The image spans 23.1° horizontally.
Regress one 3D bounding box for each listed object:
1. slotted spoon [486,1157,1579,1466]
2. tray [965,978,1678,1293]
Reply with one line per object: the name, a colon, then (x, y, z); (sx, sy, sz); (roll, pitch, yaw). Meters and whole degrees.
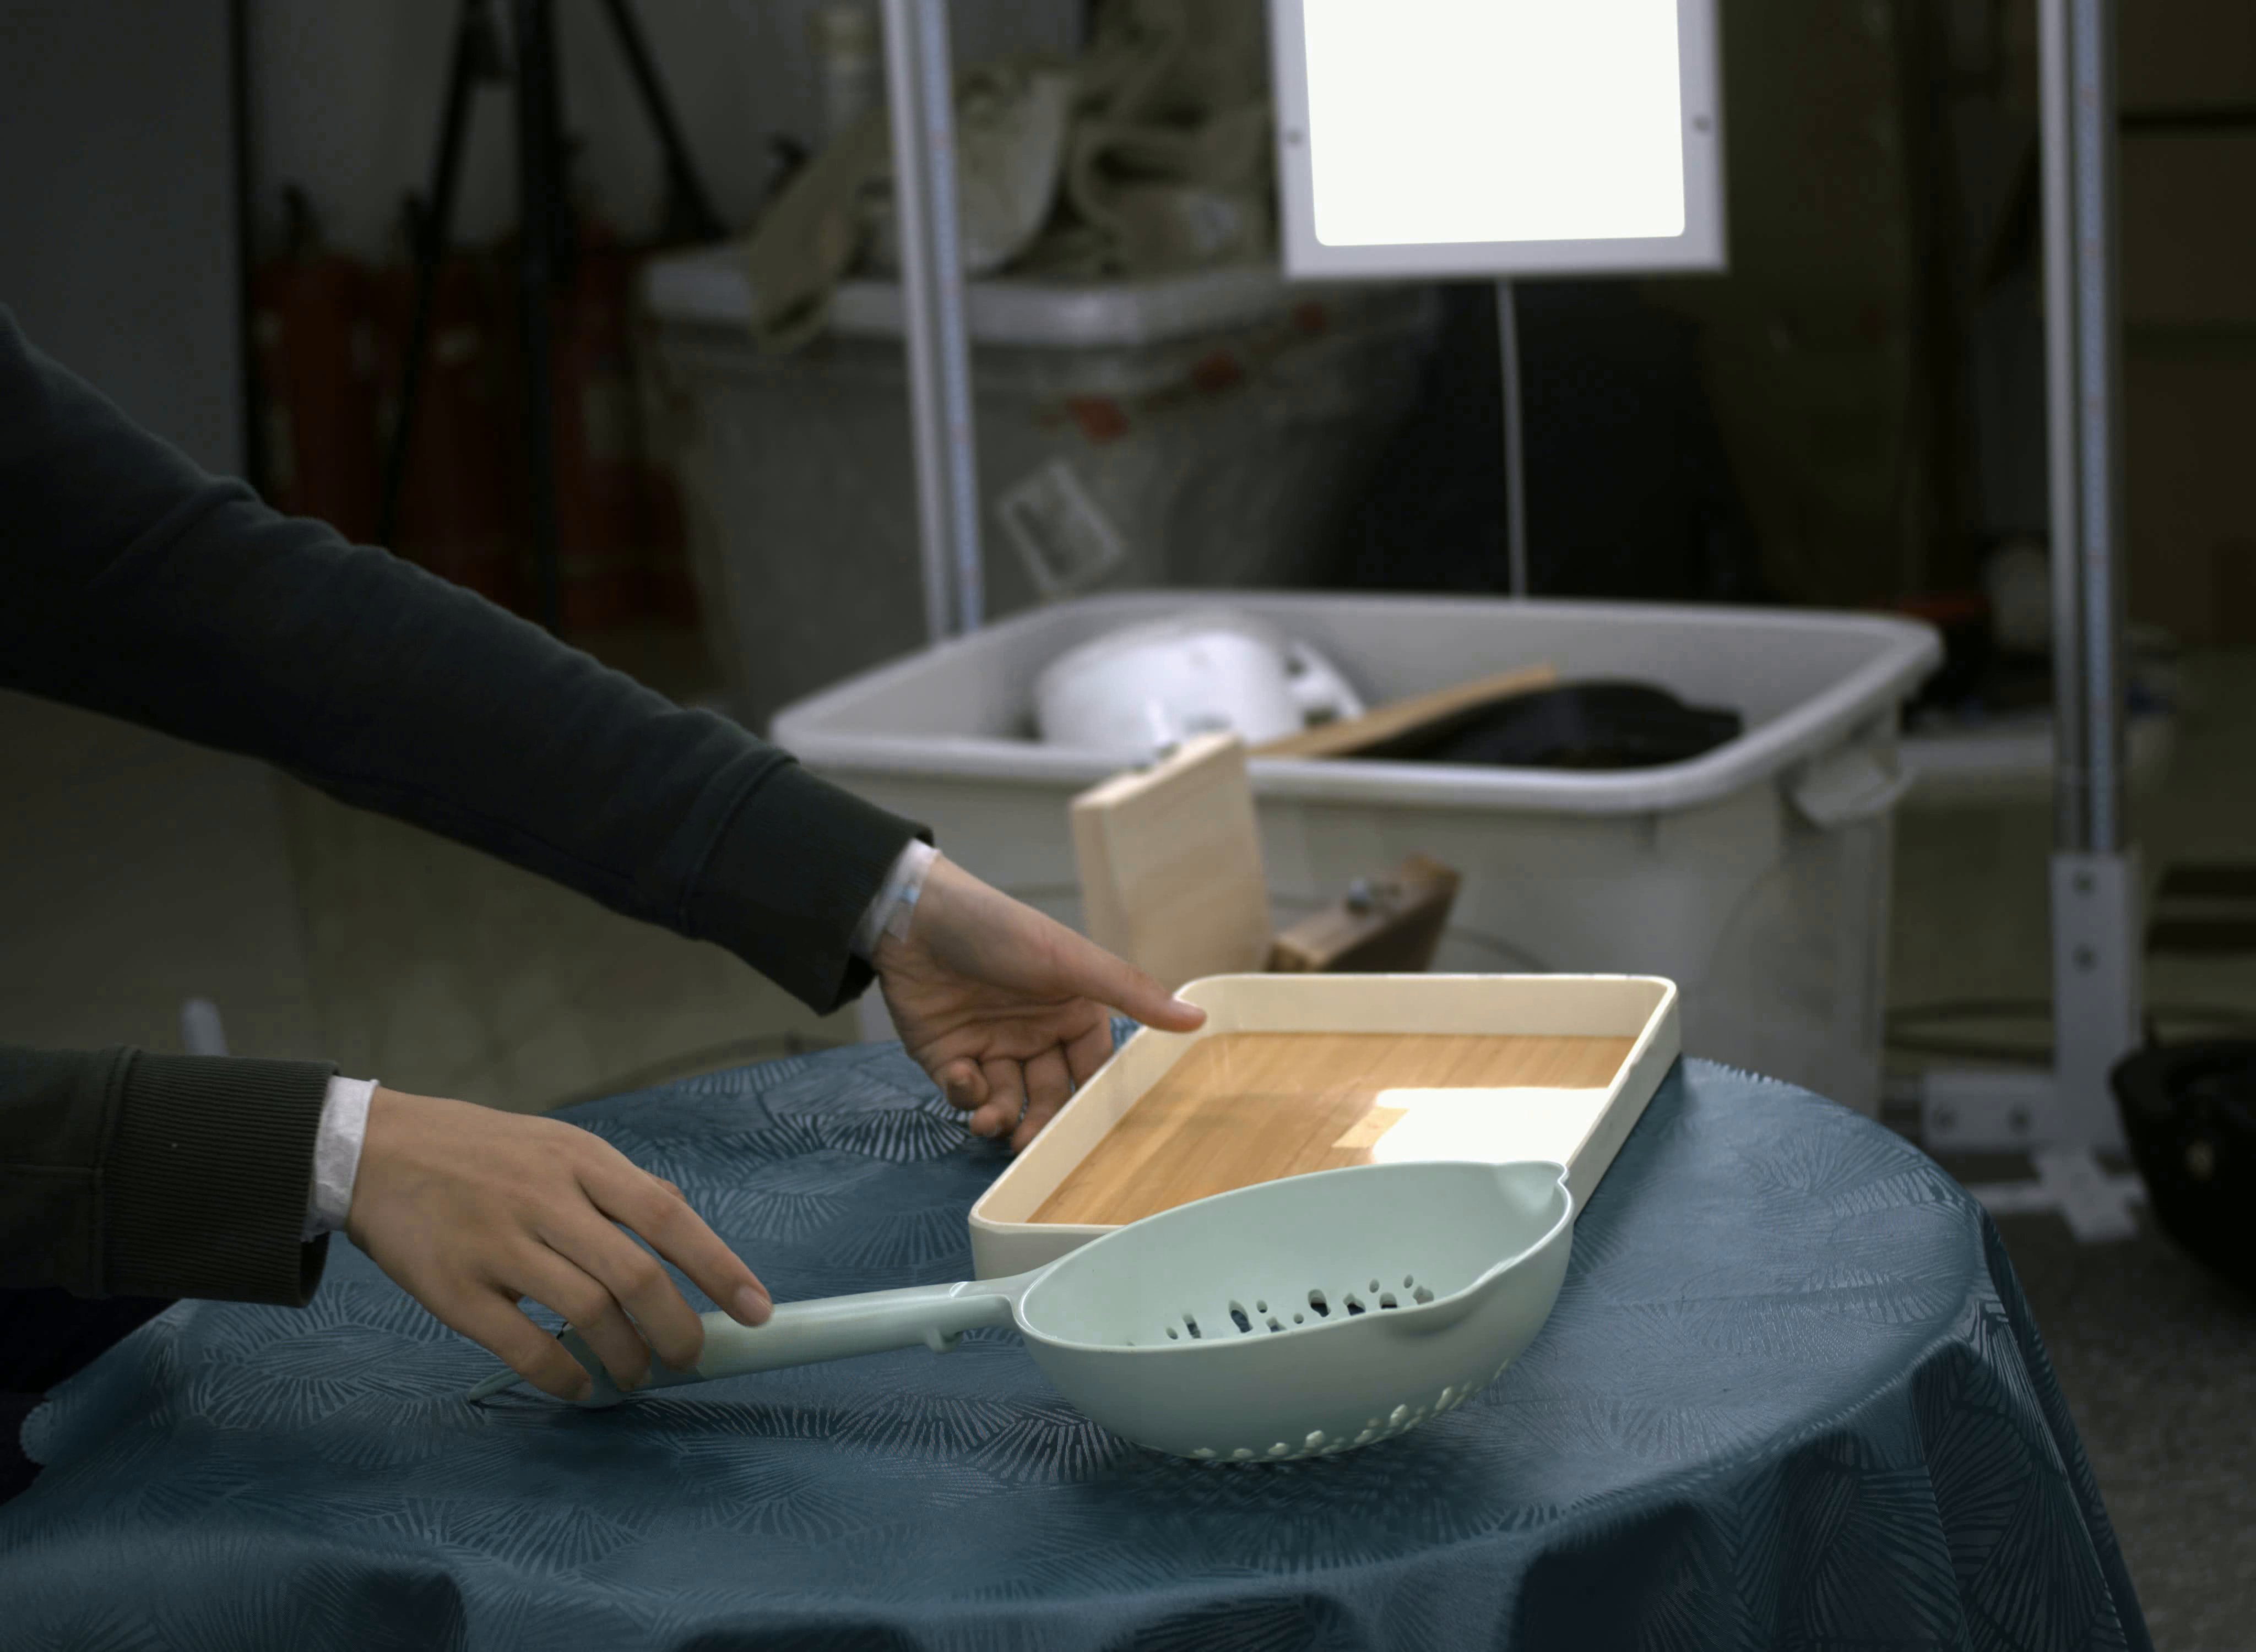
slotted spoon: (-0.037, 0.151, 1.677); (0.364, 0.075, 0.166); (0, 14, 21)
tray: (0.074, 0.105, 1.904); (0.194, 0.027, 0.295); (-1, 14, 18)
